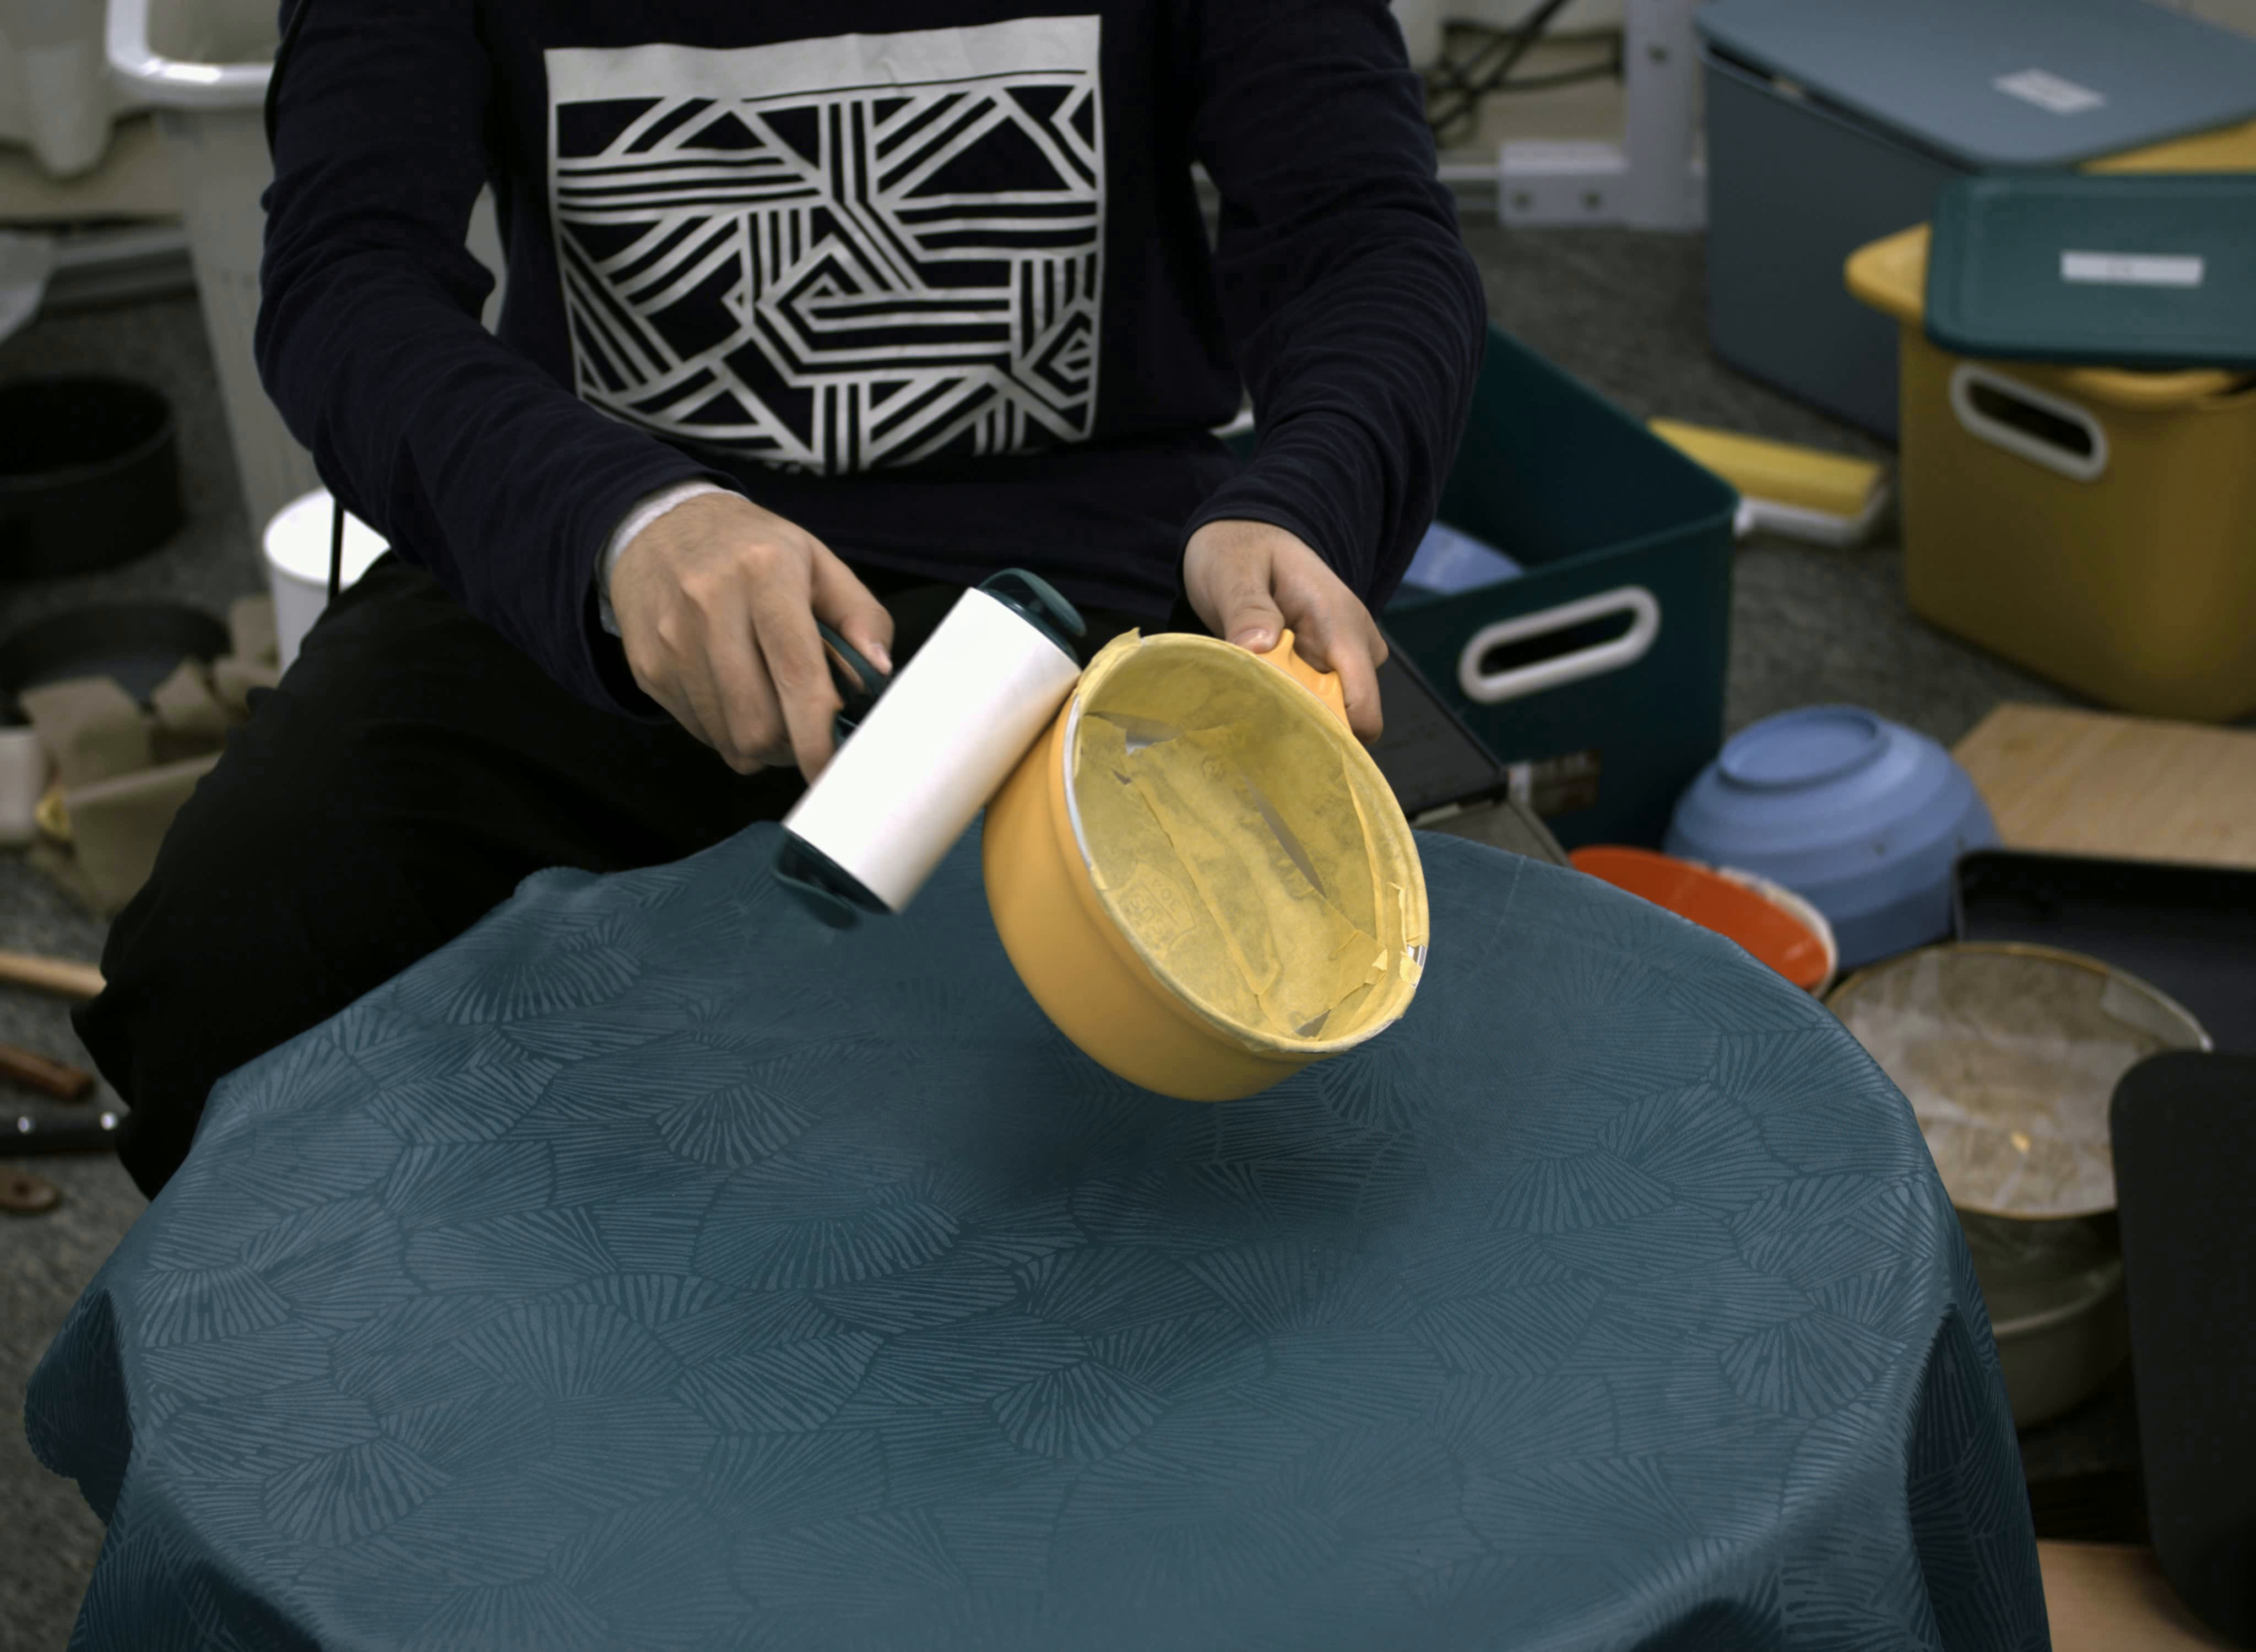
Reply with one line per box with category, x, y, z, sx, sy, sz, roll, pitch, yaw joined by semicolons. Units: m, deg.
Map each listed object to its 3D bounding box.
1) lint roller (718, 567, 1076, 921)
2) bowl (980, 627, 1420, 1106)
lint roller;-0.101;-0.046;1.870;0.135;0.048;0.180;-49;36;-9
bowl;0.023;0.010;1.861;0.152;0.073;0.183;34;43;-20
